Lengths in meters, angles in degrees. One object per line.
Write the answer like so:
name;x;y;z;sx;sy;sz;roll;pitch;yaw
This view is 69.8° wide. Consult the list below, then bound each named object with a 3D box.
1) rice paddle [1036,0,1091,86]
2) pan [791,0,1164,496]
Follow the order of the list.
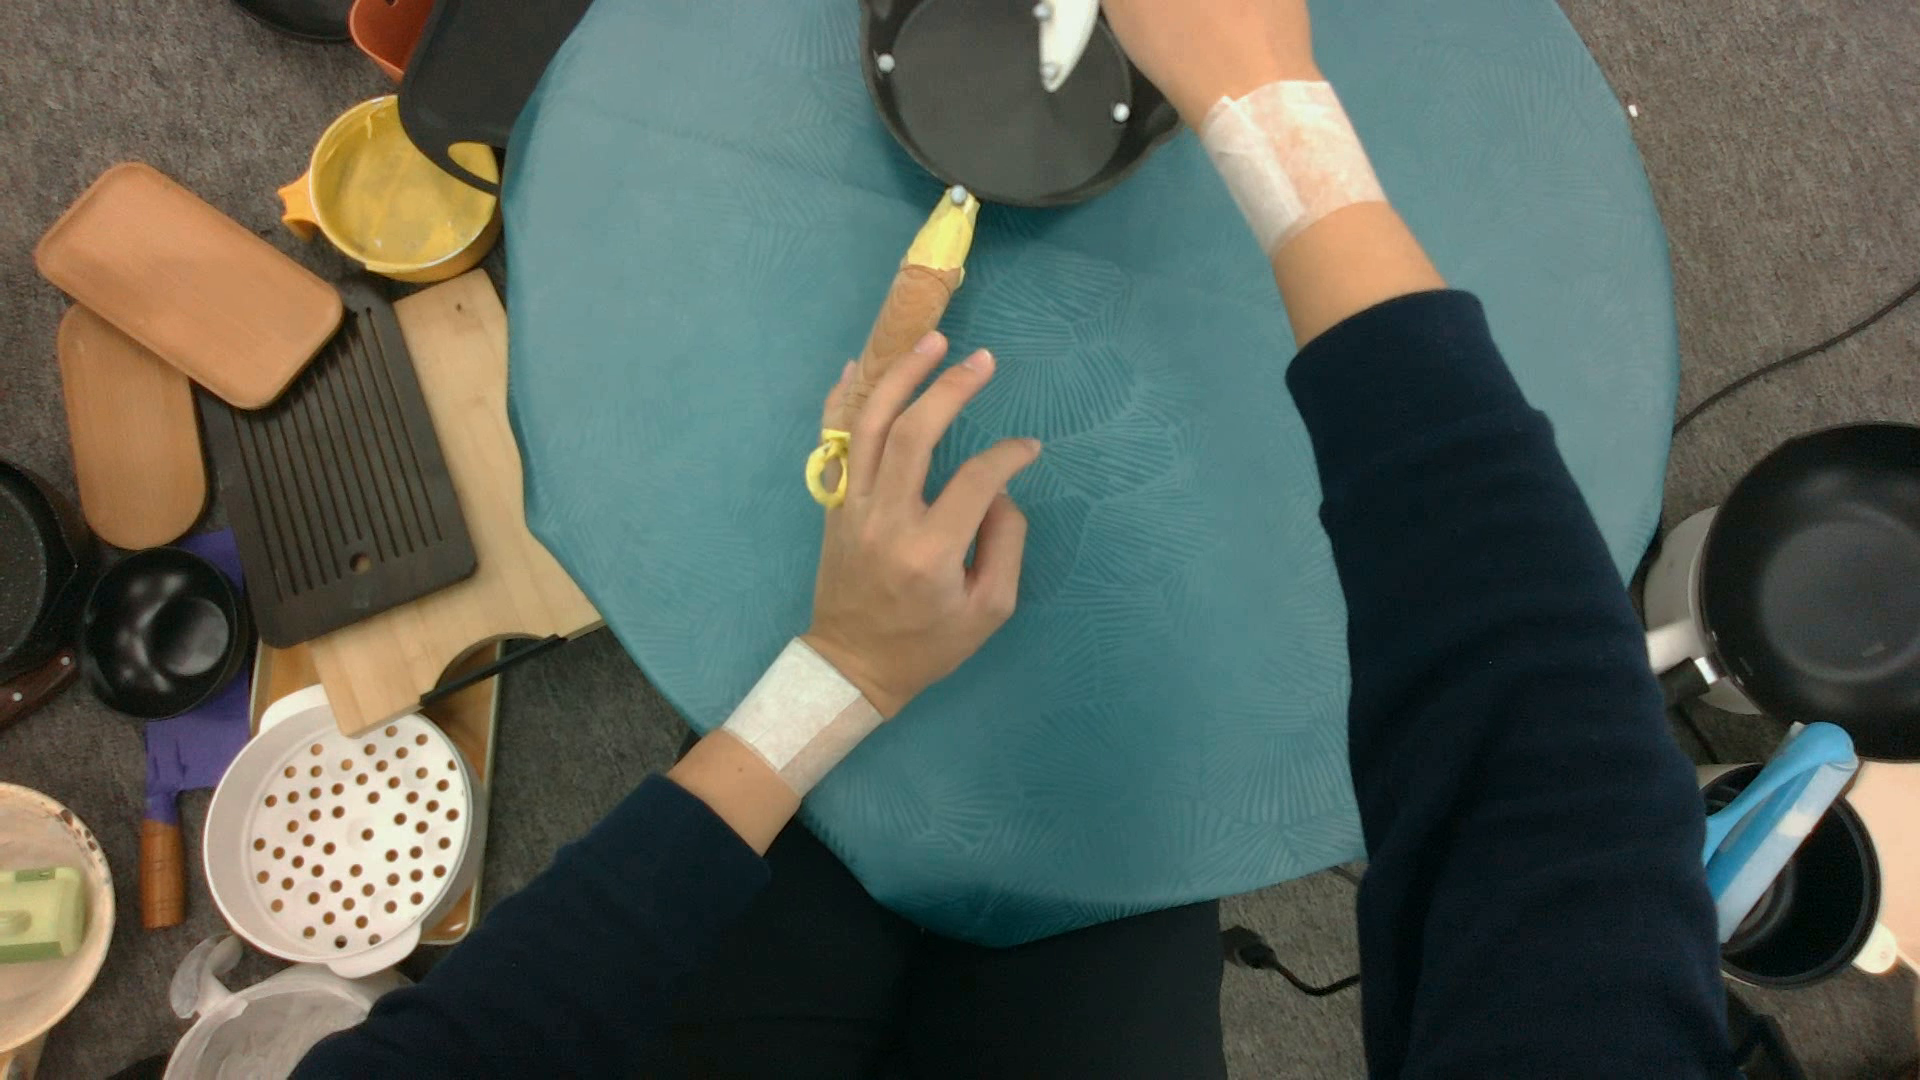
rice paddle;0.055;-0.256;0.600;0.029;0.205;0.069;2;88;-10
pan;-0.011;-0.163;0.651;0.169;0.049;0.325;24;73;-4
